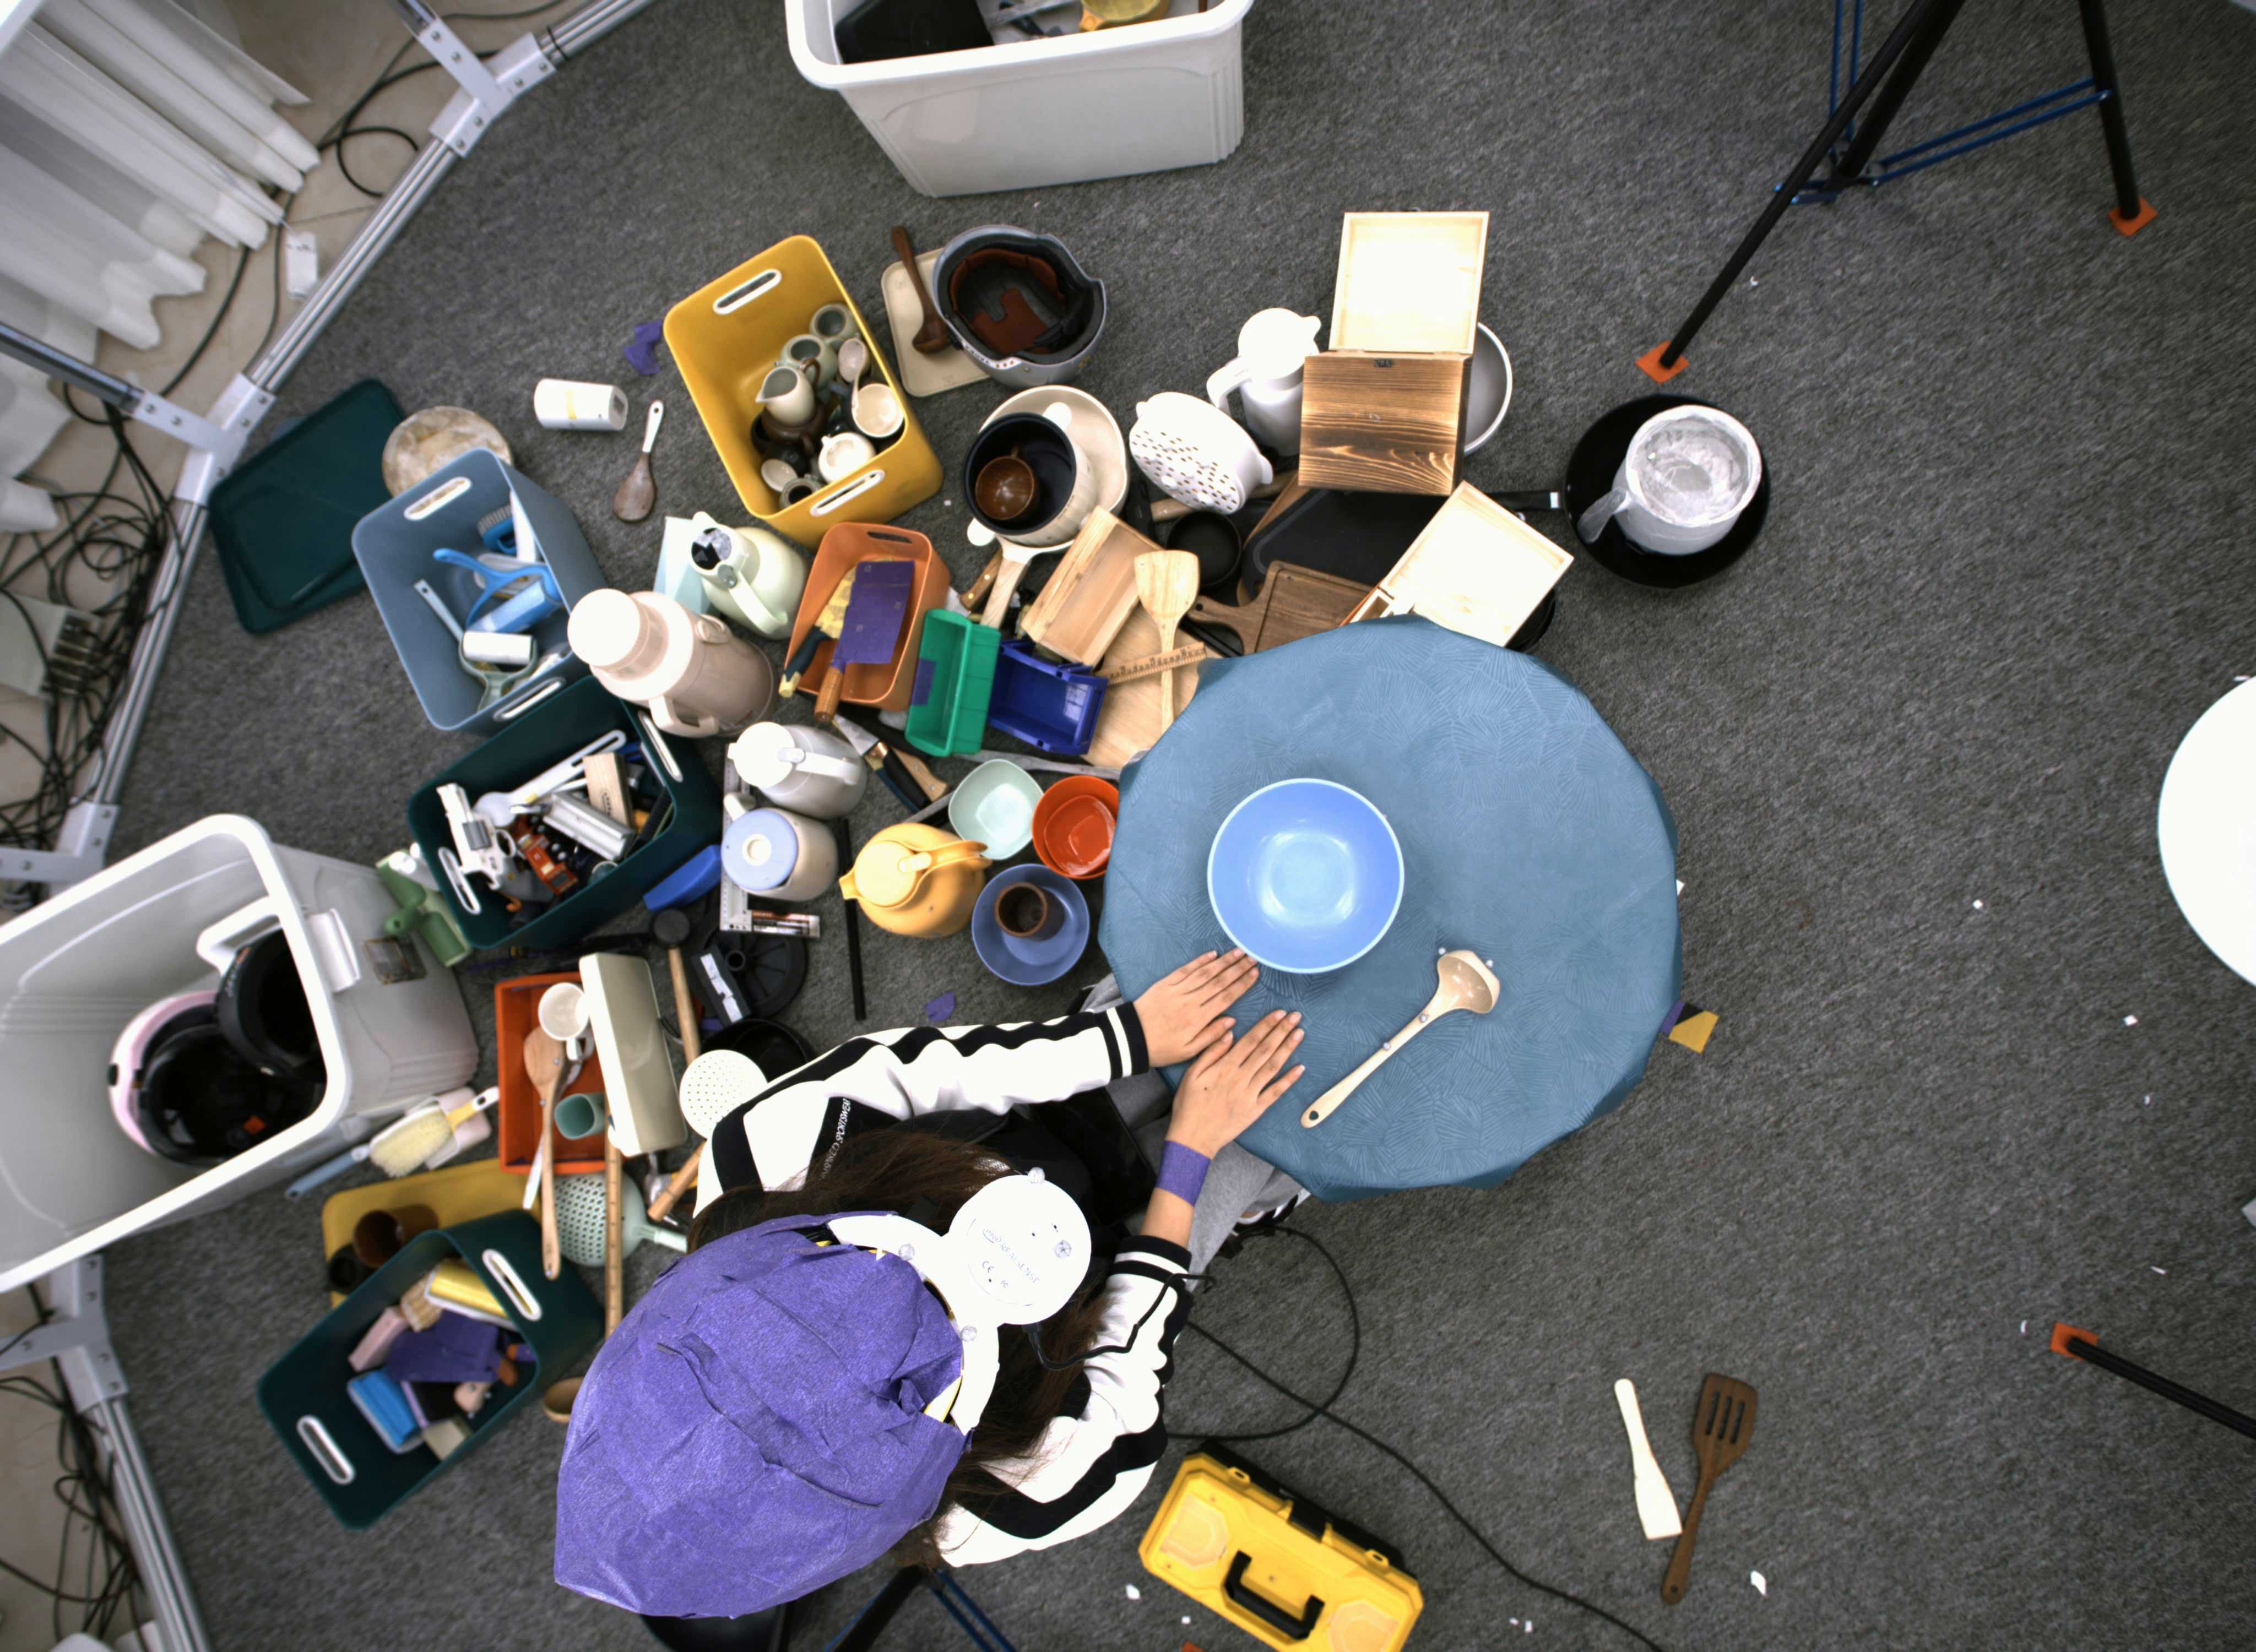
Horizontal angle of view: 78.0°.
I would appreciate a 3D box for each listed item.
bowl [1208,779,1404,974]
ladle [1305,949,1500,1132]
[{"bbox_3d":[0.185,0.053,1.432,0.197,0.095,0.196,-1,88,10],"label":"bowl"},{"bbox_3d":[0.273,0.226,1.414,0.255,0.073,0.072,-44,78,5],"label":"ladle"}]
